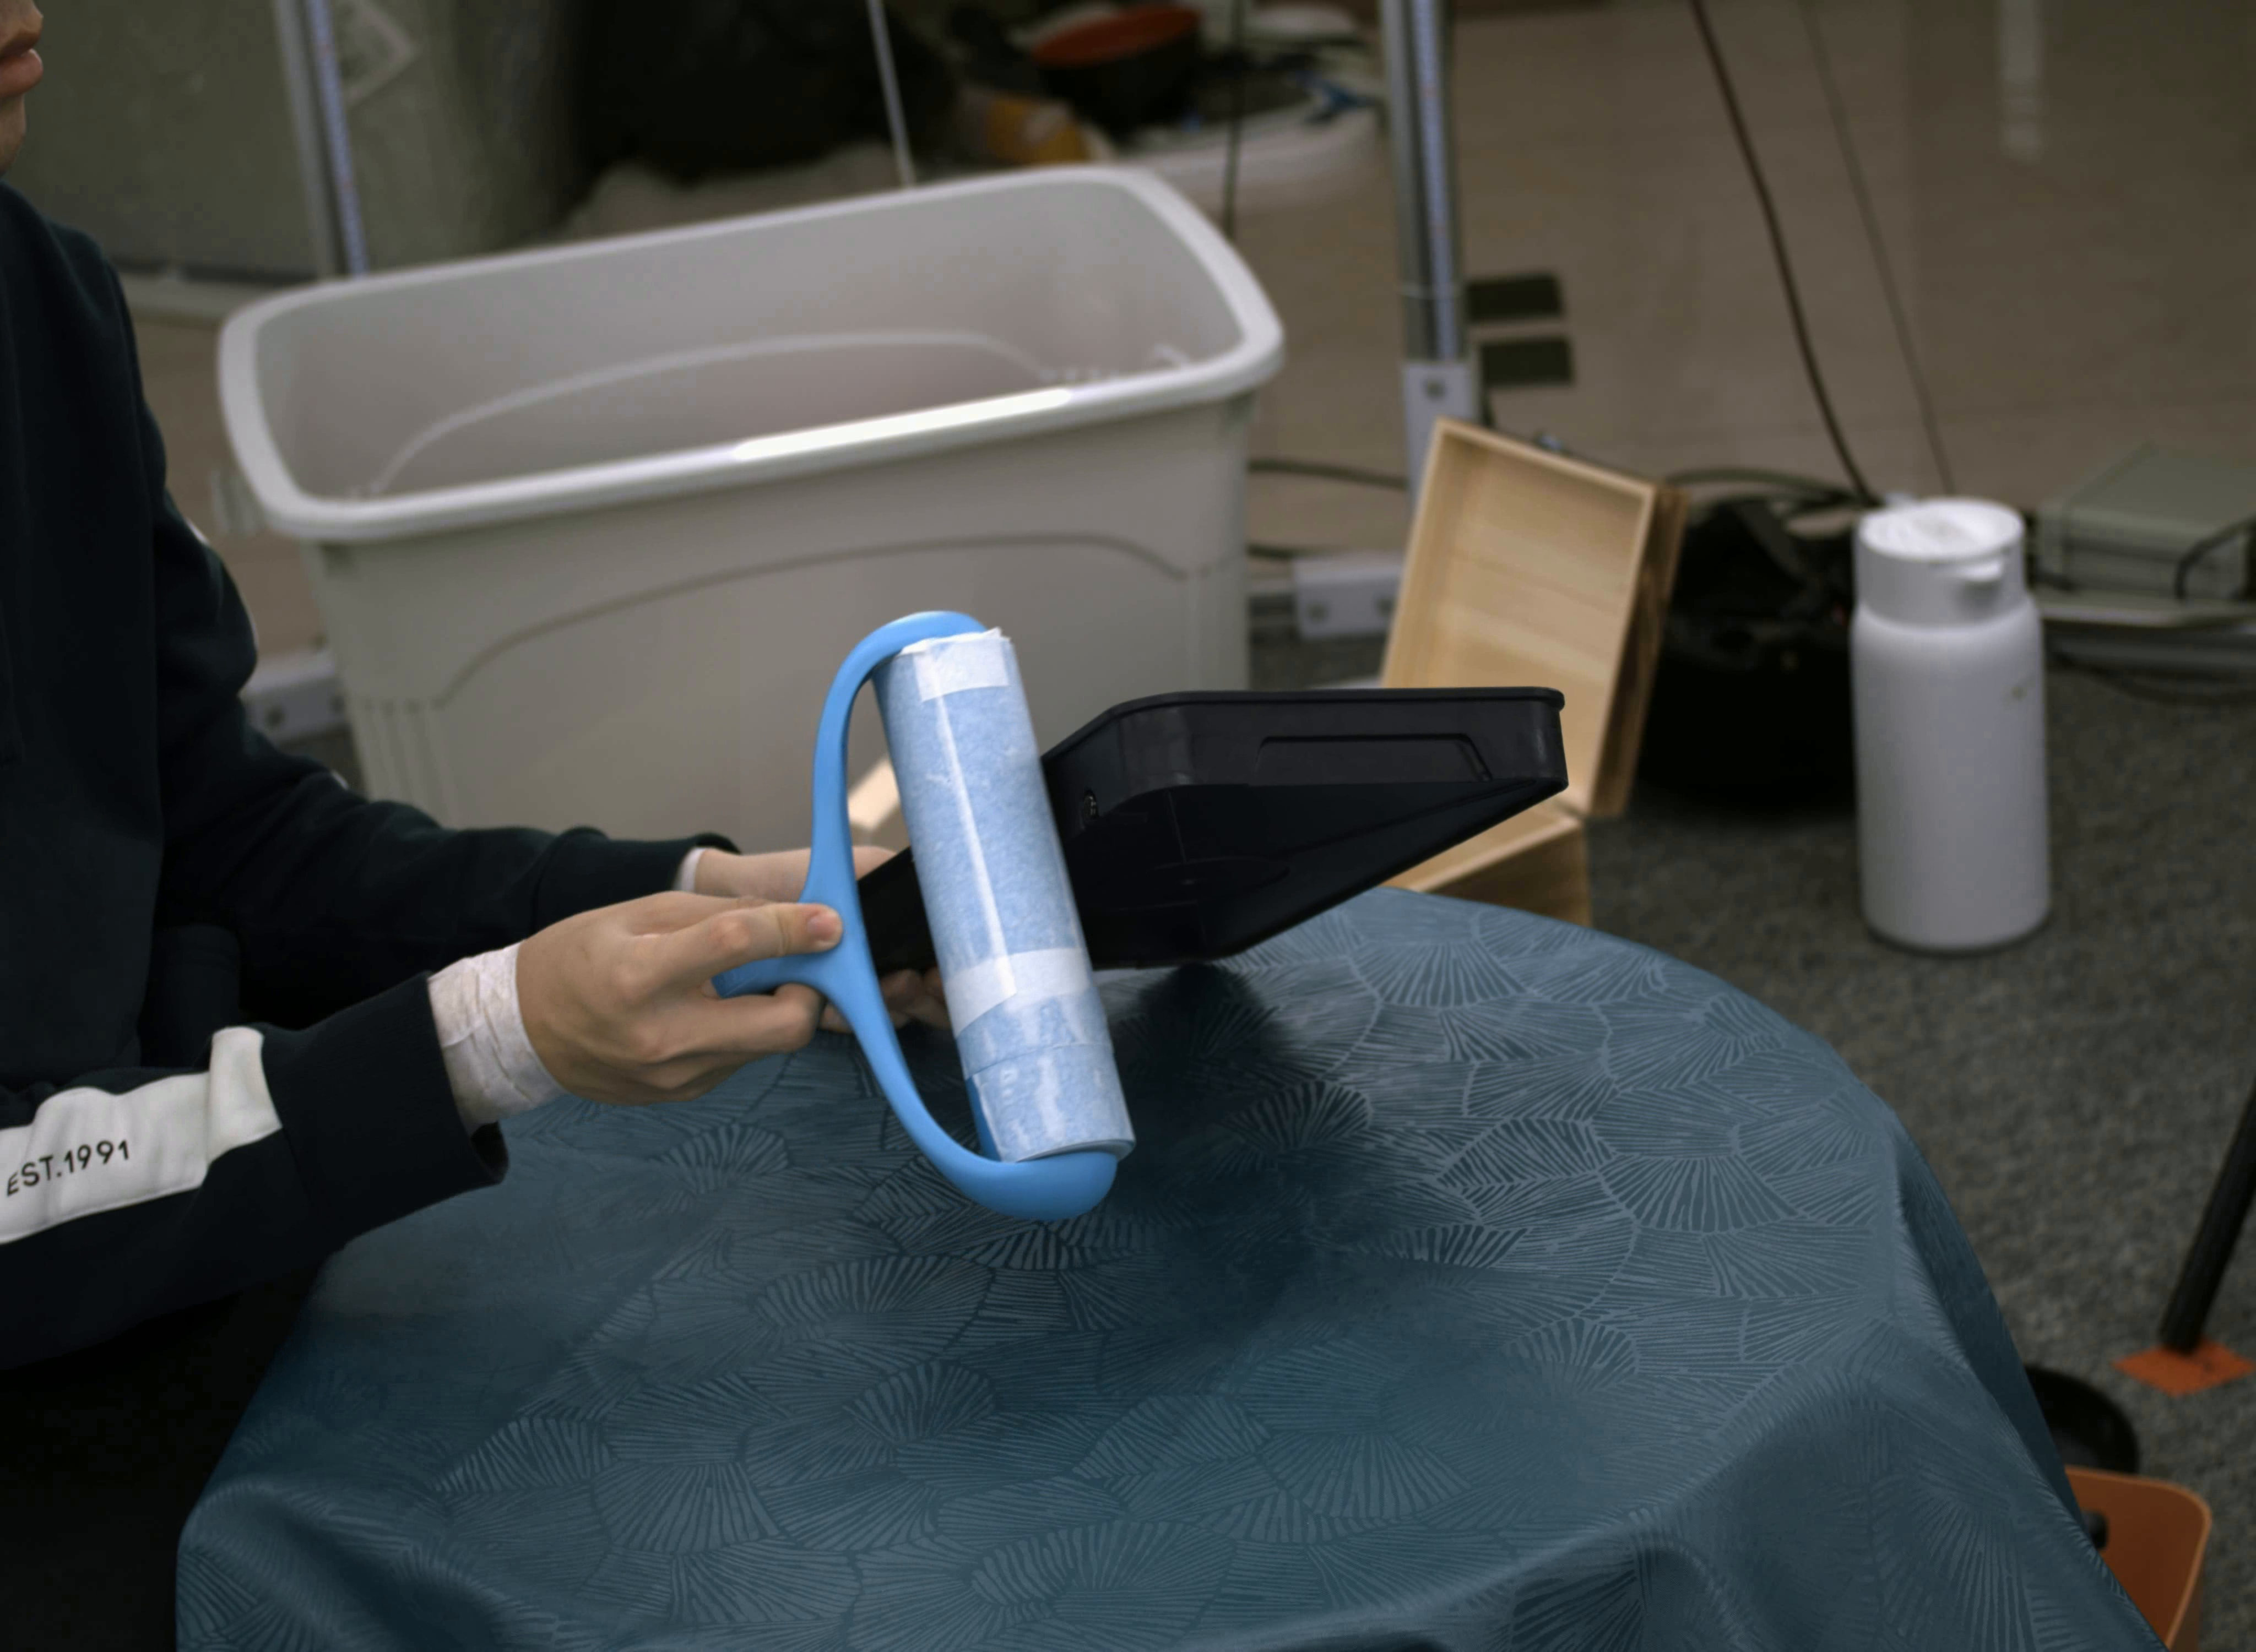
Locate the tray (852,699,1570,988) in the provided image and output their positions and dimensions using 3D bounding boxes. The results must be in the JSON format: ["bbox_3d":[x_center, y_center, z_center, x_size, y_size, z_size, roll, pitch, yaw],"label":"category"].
[{"bbox_3d":[0.019,0.009,2.151,0.184,0.037,0.320,-3,-12,-27],"label":"tray"}]

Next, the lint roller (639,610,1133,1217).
[{"bbox_3d":[-0.102,0.049,2.041,0.180,0.227,0.068,-20,-13,12],"label":"lint roller"}]
